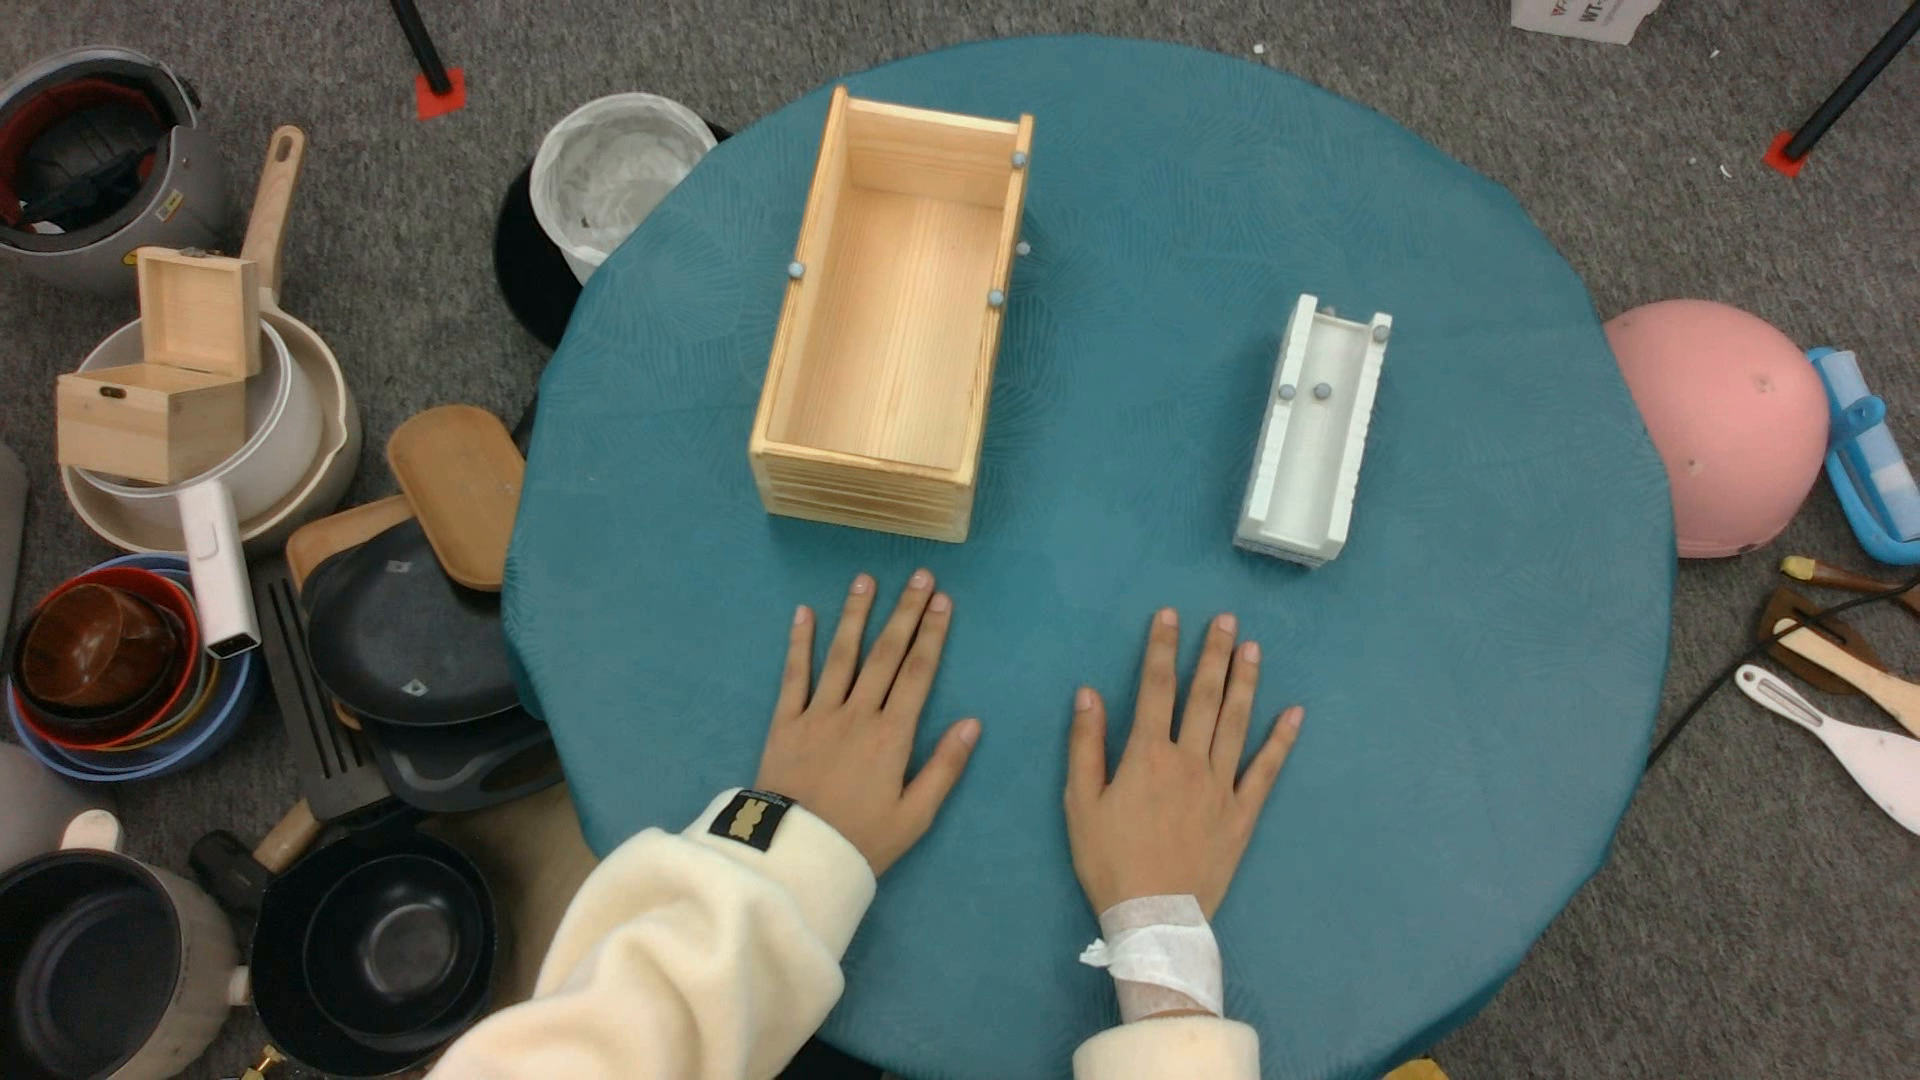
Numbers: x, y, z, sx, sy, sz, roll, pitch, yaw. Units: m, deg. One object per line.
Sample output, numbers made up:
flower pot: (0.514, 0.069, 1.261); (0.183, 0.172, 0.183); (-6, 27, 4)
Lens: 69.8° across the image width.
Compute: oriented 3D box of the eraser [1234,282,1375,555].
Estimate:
eraser: (0.177, -0.063, 0.714); (0.050, 0.046, 0.135); (14, 67, 1)

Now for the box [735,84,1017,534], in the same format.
box: (-0.038, -0.120, 0.710); (0.107, 0.080, 0.212); (8, 68, 1)
